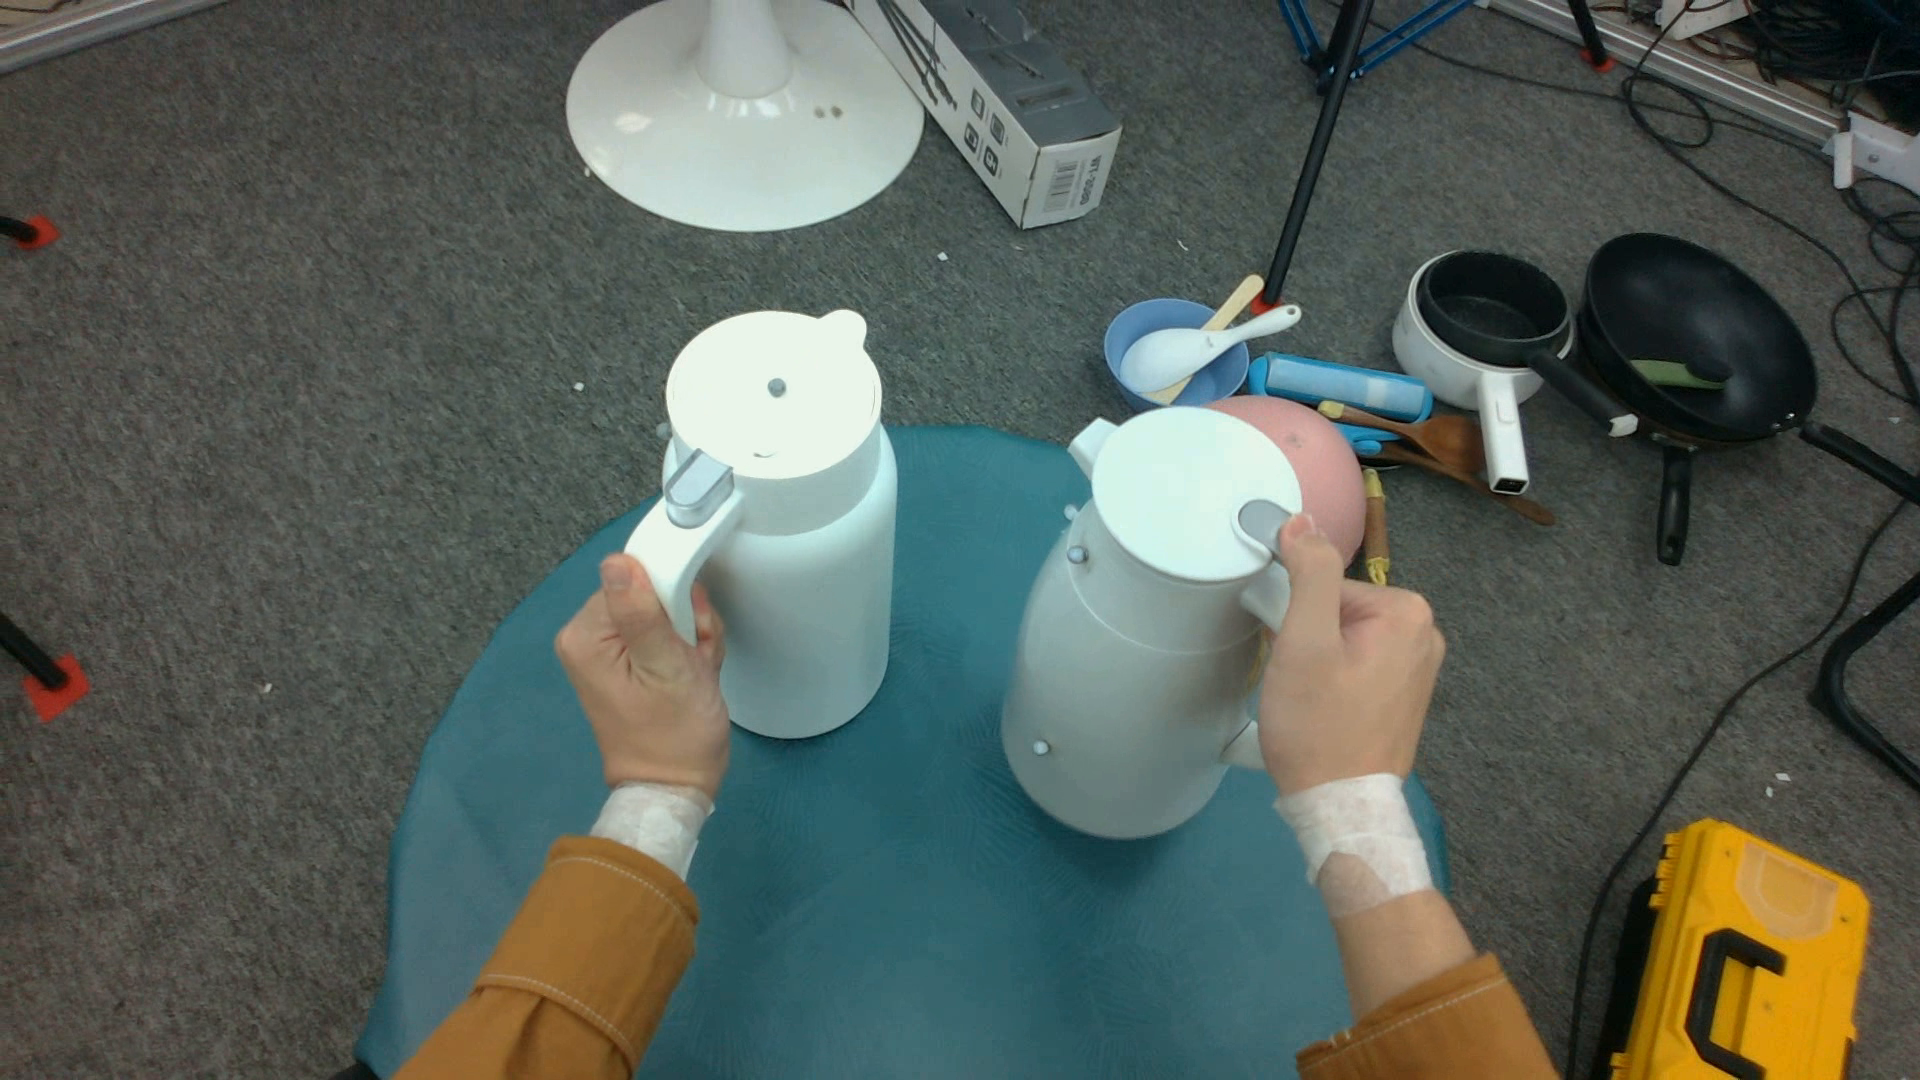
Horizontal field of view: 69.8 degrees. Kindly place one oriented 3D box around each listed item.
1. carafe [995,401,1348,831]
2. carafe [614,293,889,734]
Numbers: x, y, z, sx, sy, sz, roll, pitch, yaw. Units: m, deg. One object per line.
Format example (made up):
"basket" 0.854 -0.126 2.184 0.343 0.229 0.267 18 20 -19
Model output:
"carafe" 0.107 0.049 0.685 0.168 0.247 0.133 38 62 18
"carafe" -0.106 0.011 0.732 0.124 0.267 0.173 29 59 10
